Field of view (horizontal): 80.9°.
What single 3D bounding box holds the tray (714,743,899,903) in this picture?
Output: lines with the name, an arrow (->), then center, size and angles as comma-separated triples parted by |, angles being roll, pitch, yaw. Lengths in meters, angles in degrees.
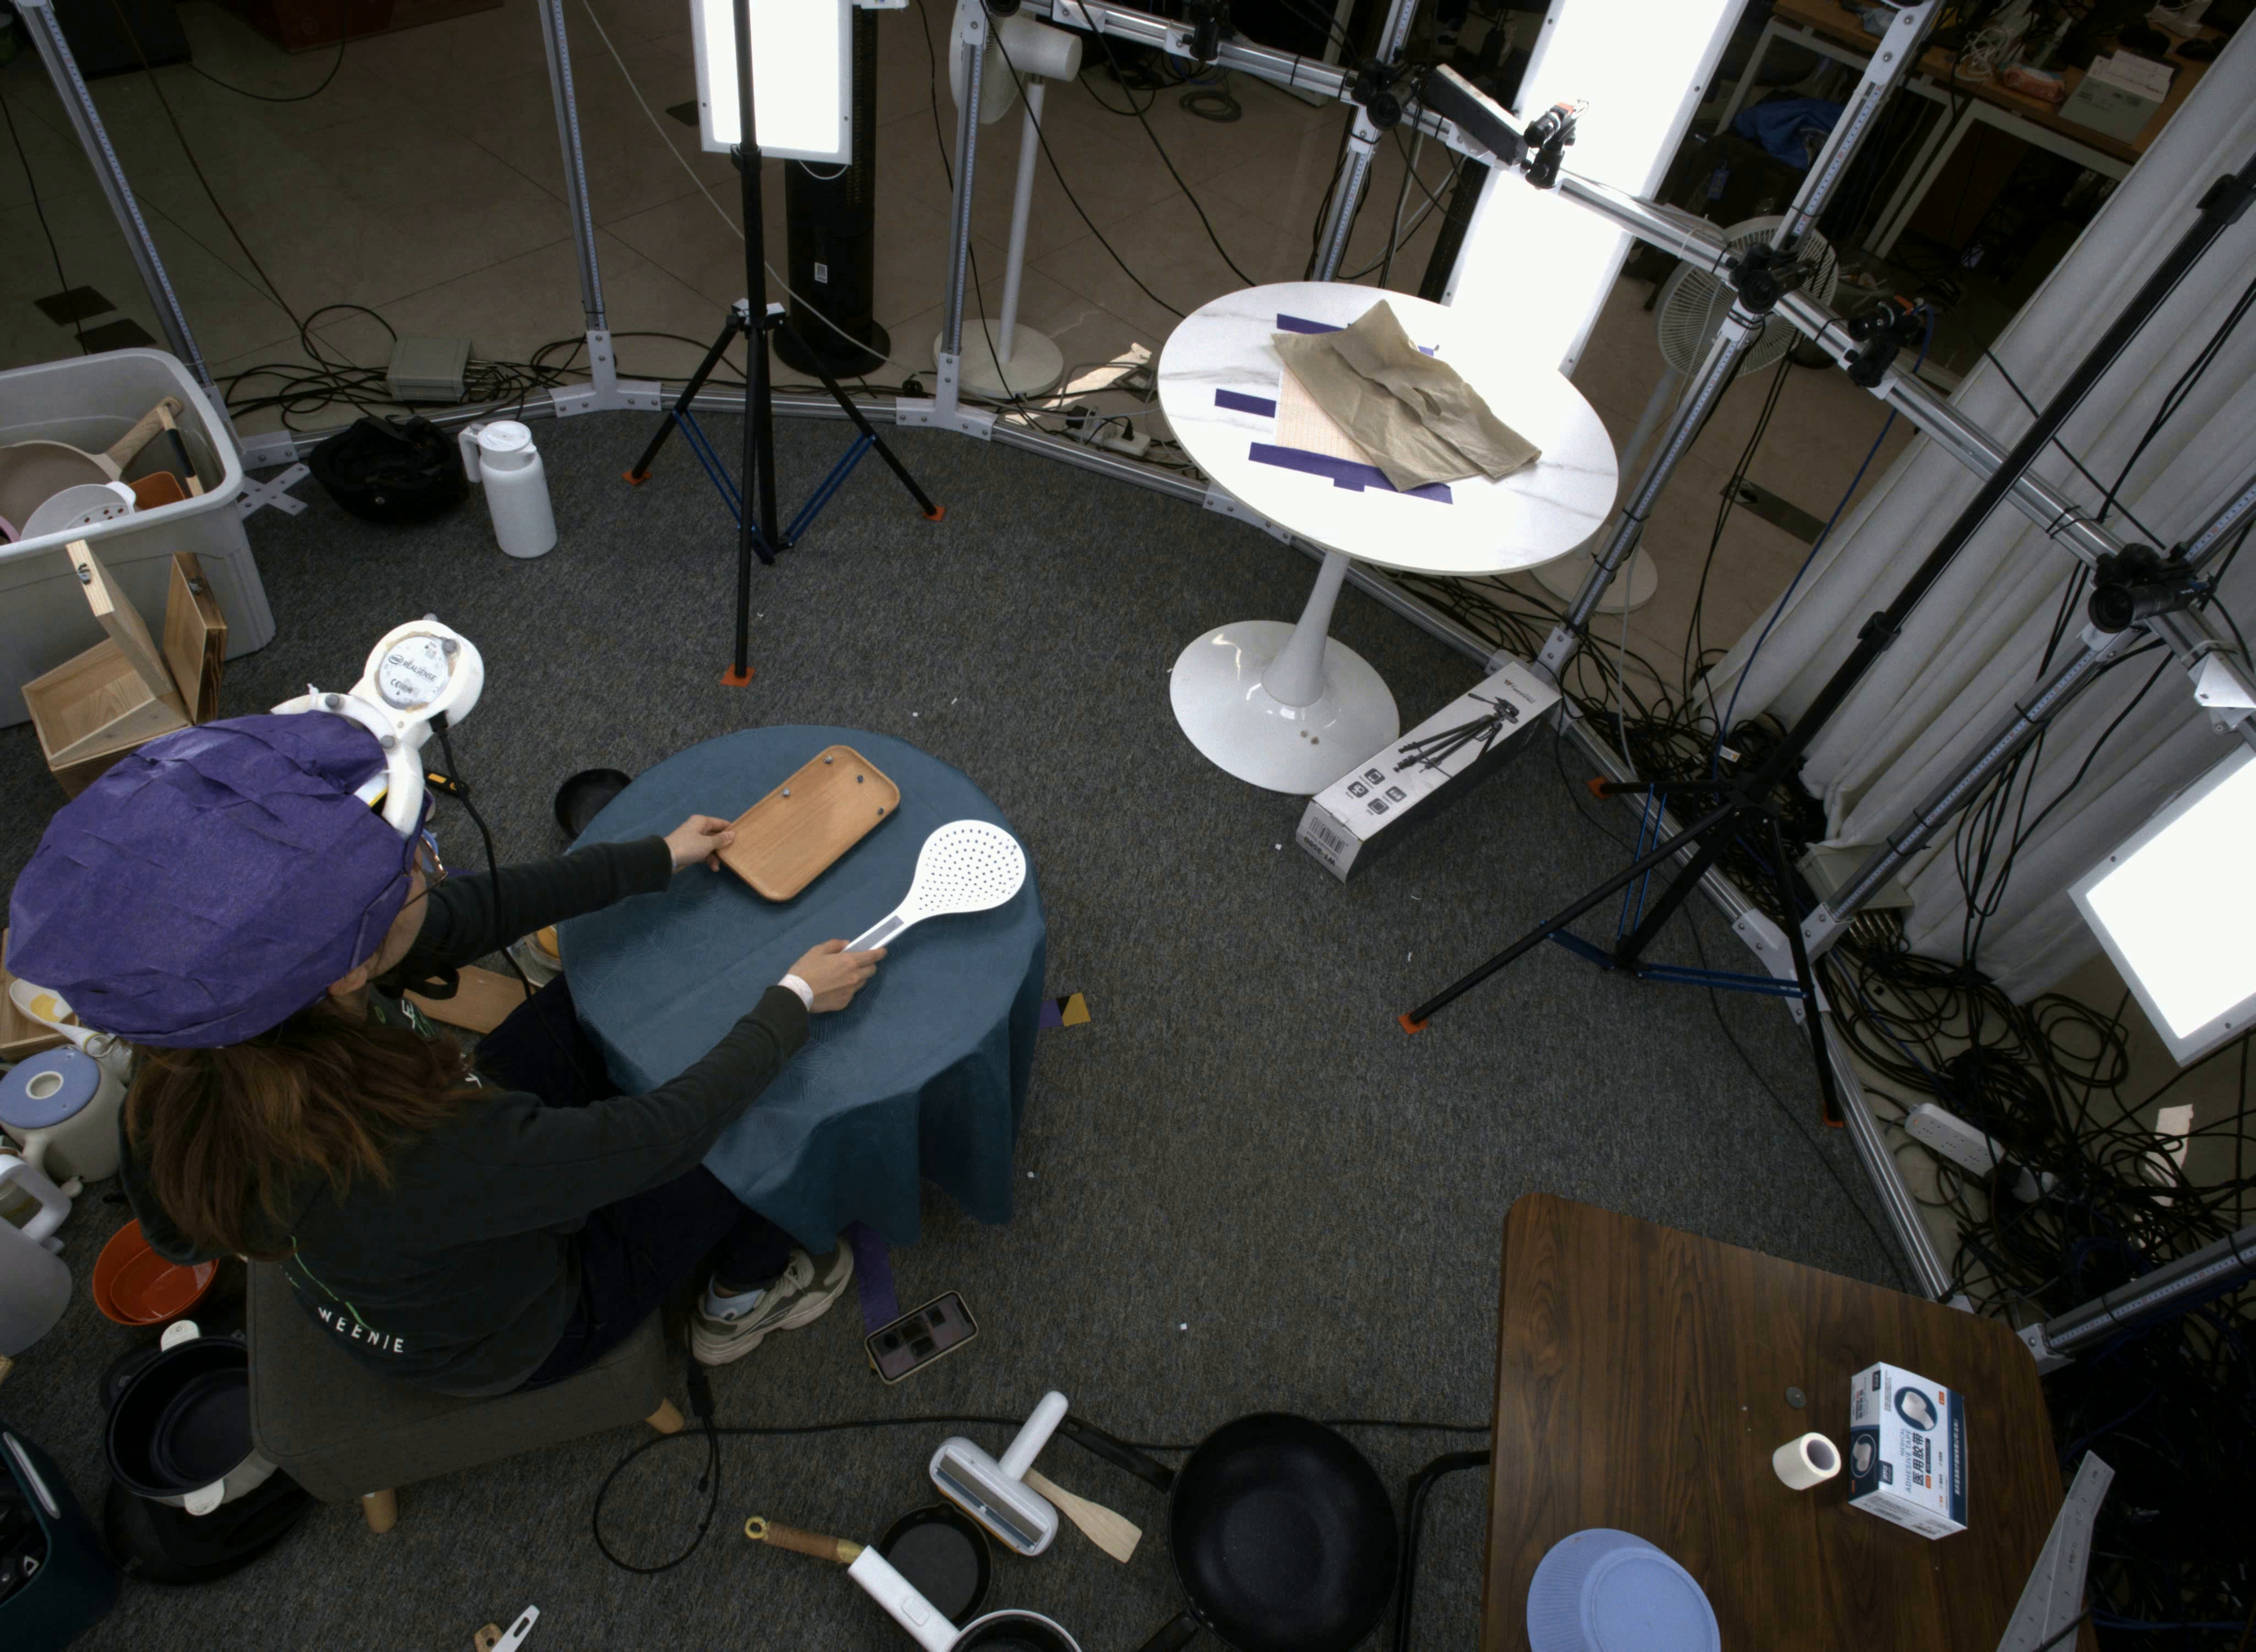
tray -> -0.420, -0.007, 1.706 | 0.129, 0.023, 0.250 | 39, 54, 6

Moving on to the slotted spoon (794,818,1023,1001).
slotted spoon -> -0.276, 0.106, 1.640 | 0.133, 0.046, 0.350 | 42, 52, 14
